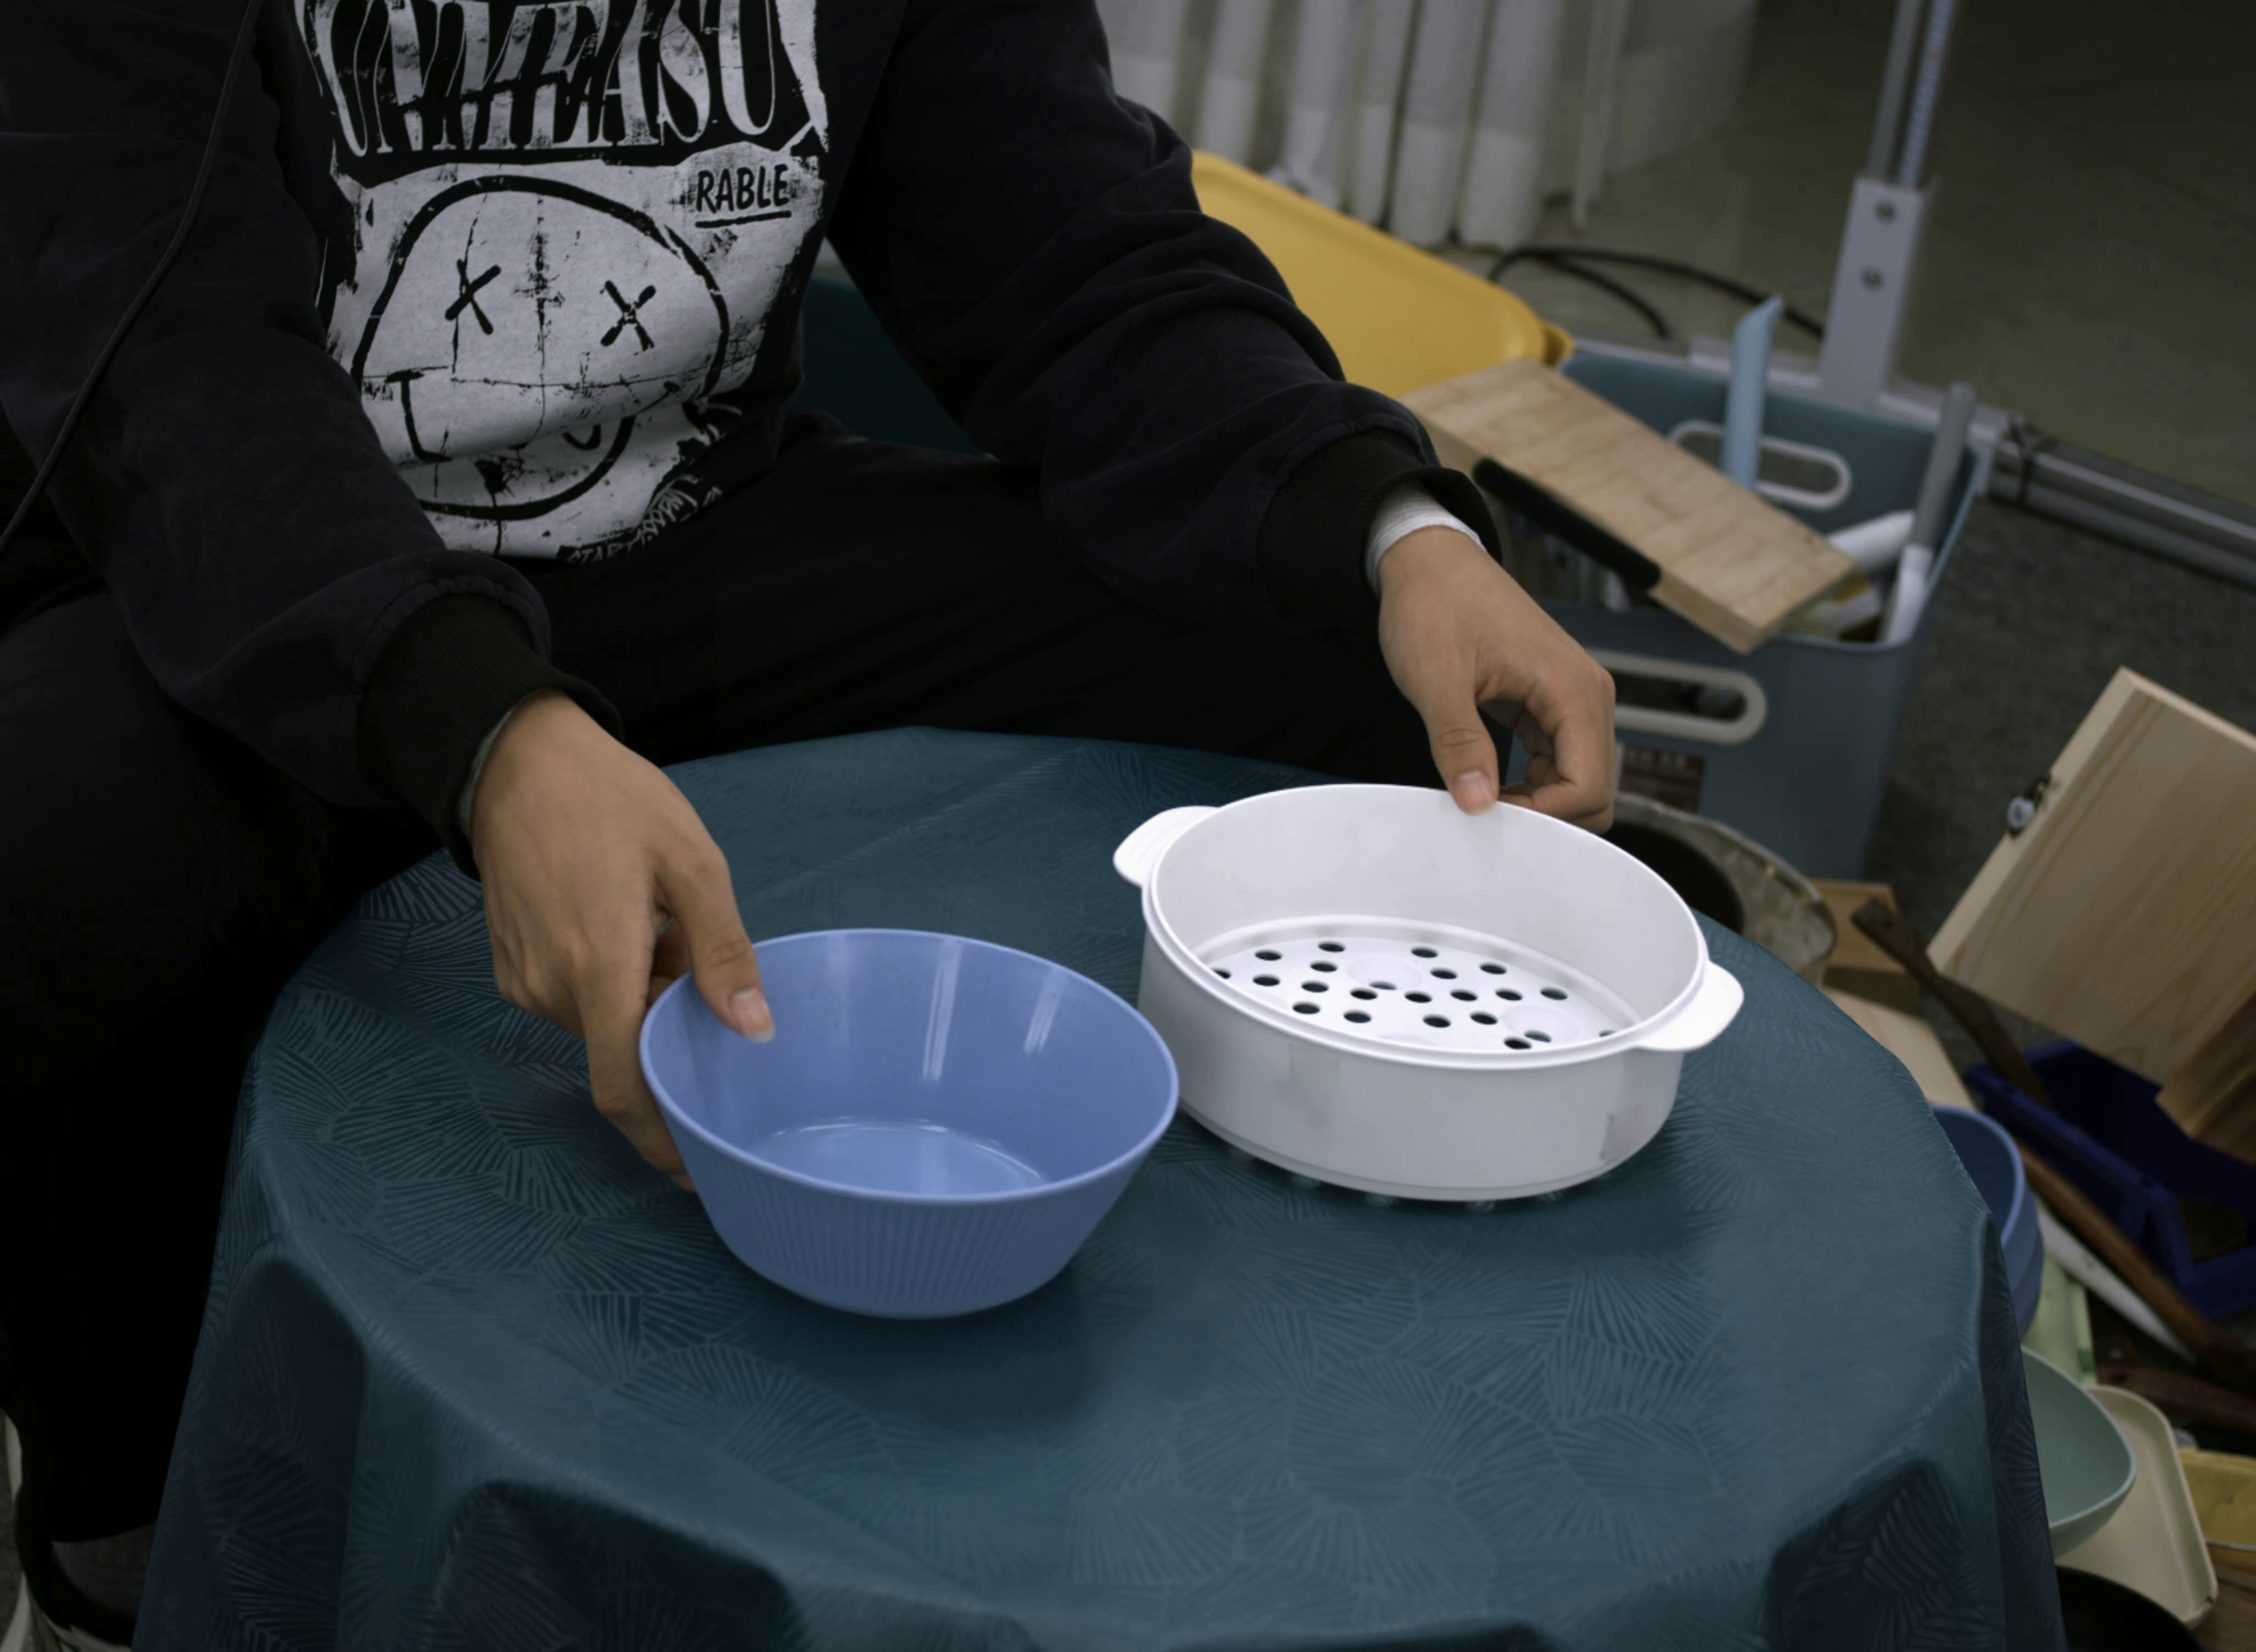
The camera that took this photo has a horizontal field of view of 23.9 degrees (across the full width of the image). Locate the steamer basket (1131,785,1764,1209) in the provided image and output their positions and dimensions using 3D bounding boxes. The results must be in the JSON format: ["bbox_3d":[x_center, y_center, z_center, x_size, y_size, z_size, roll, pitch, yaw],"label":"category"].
[{"bbox_3d":[0.107,0.060,1.874,0.231,0.069,0.202,19,29,19],"label":"steamer basket"}]

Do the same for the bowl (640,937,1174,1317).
[{"bbox_3d":[-0.075,0.104,1.743,0.175,0.070,0.177,6,26,-3],"label":"bowl"}]
